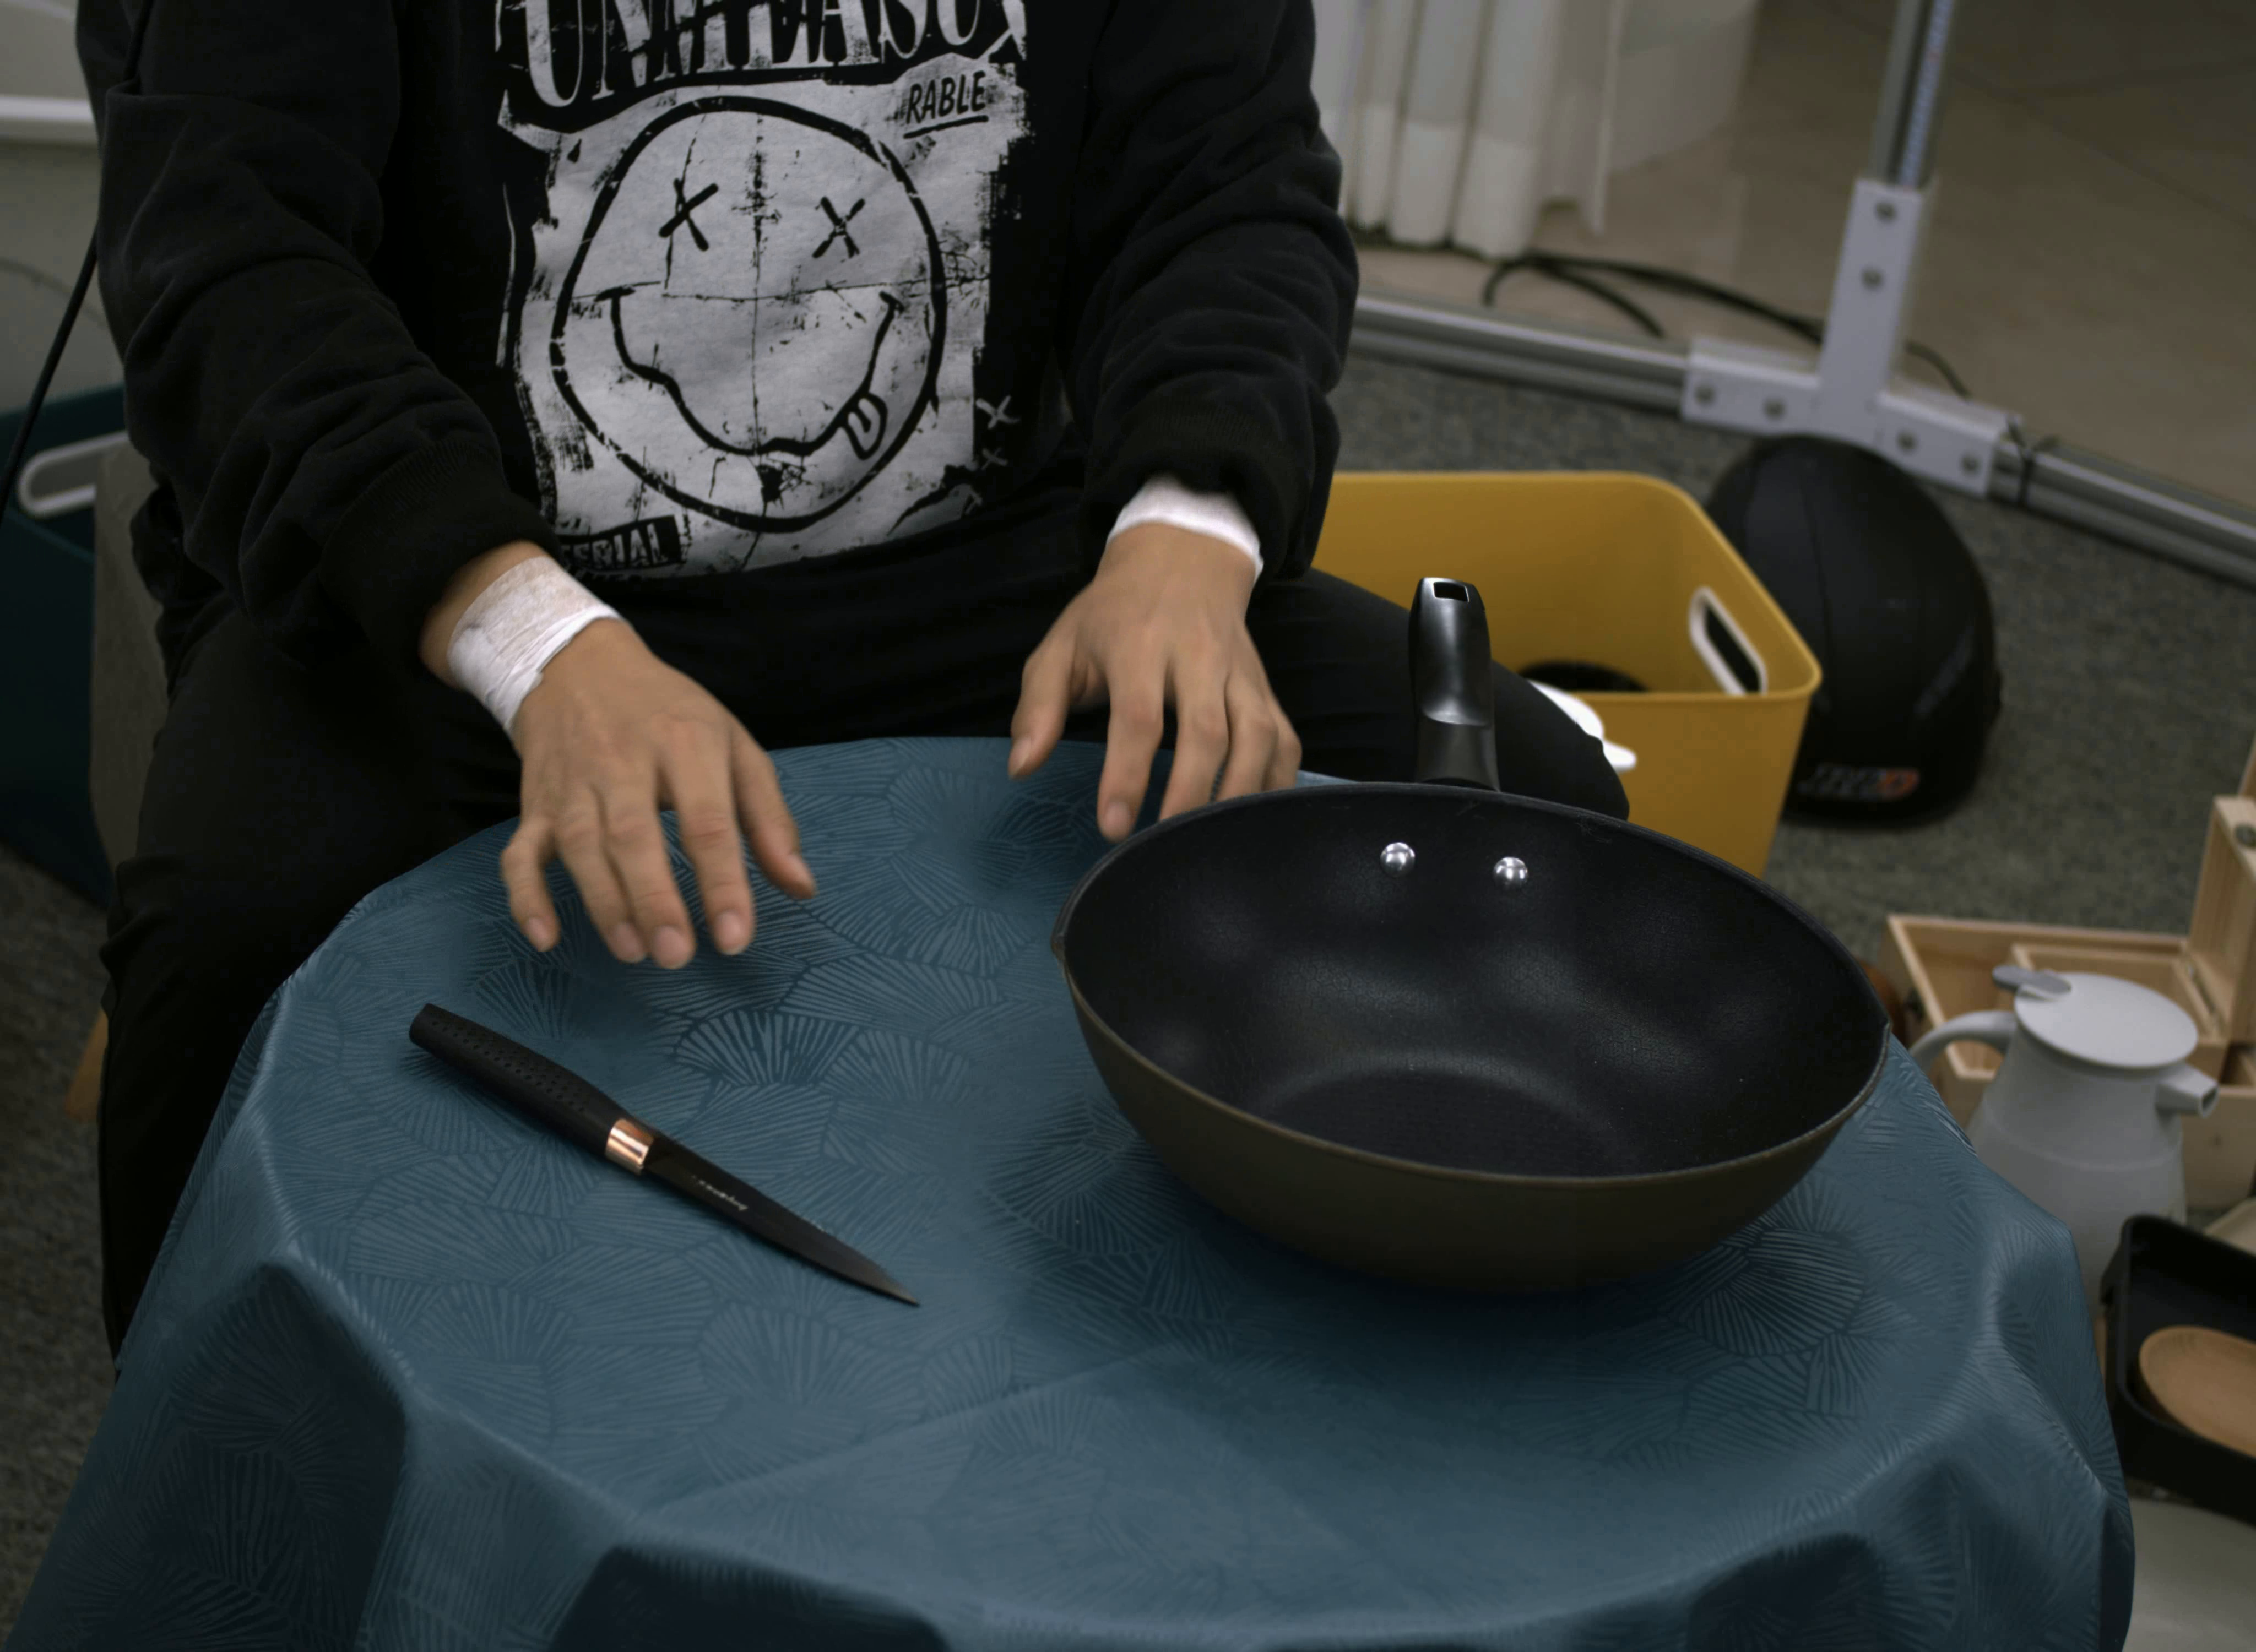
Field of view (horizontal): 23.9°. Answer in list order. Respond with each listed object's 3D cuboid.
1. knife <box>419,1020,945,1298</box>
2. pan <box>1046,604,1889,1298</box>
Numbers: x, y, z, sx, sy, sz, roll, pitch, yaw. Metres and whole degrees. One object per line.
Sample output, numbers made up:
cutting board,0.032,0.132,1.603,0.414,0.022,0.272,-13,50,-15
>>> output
knife,-0.152,0.113,1.783,0.227,0.017,0.026,25,20,30
pan,0.114,0.045,1.898,0.287,0.086,0.466,6,26,-1
